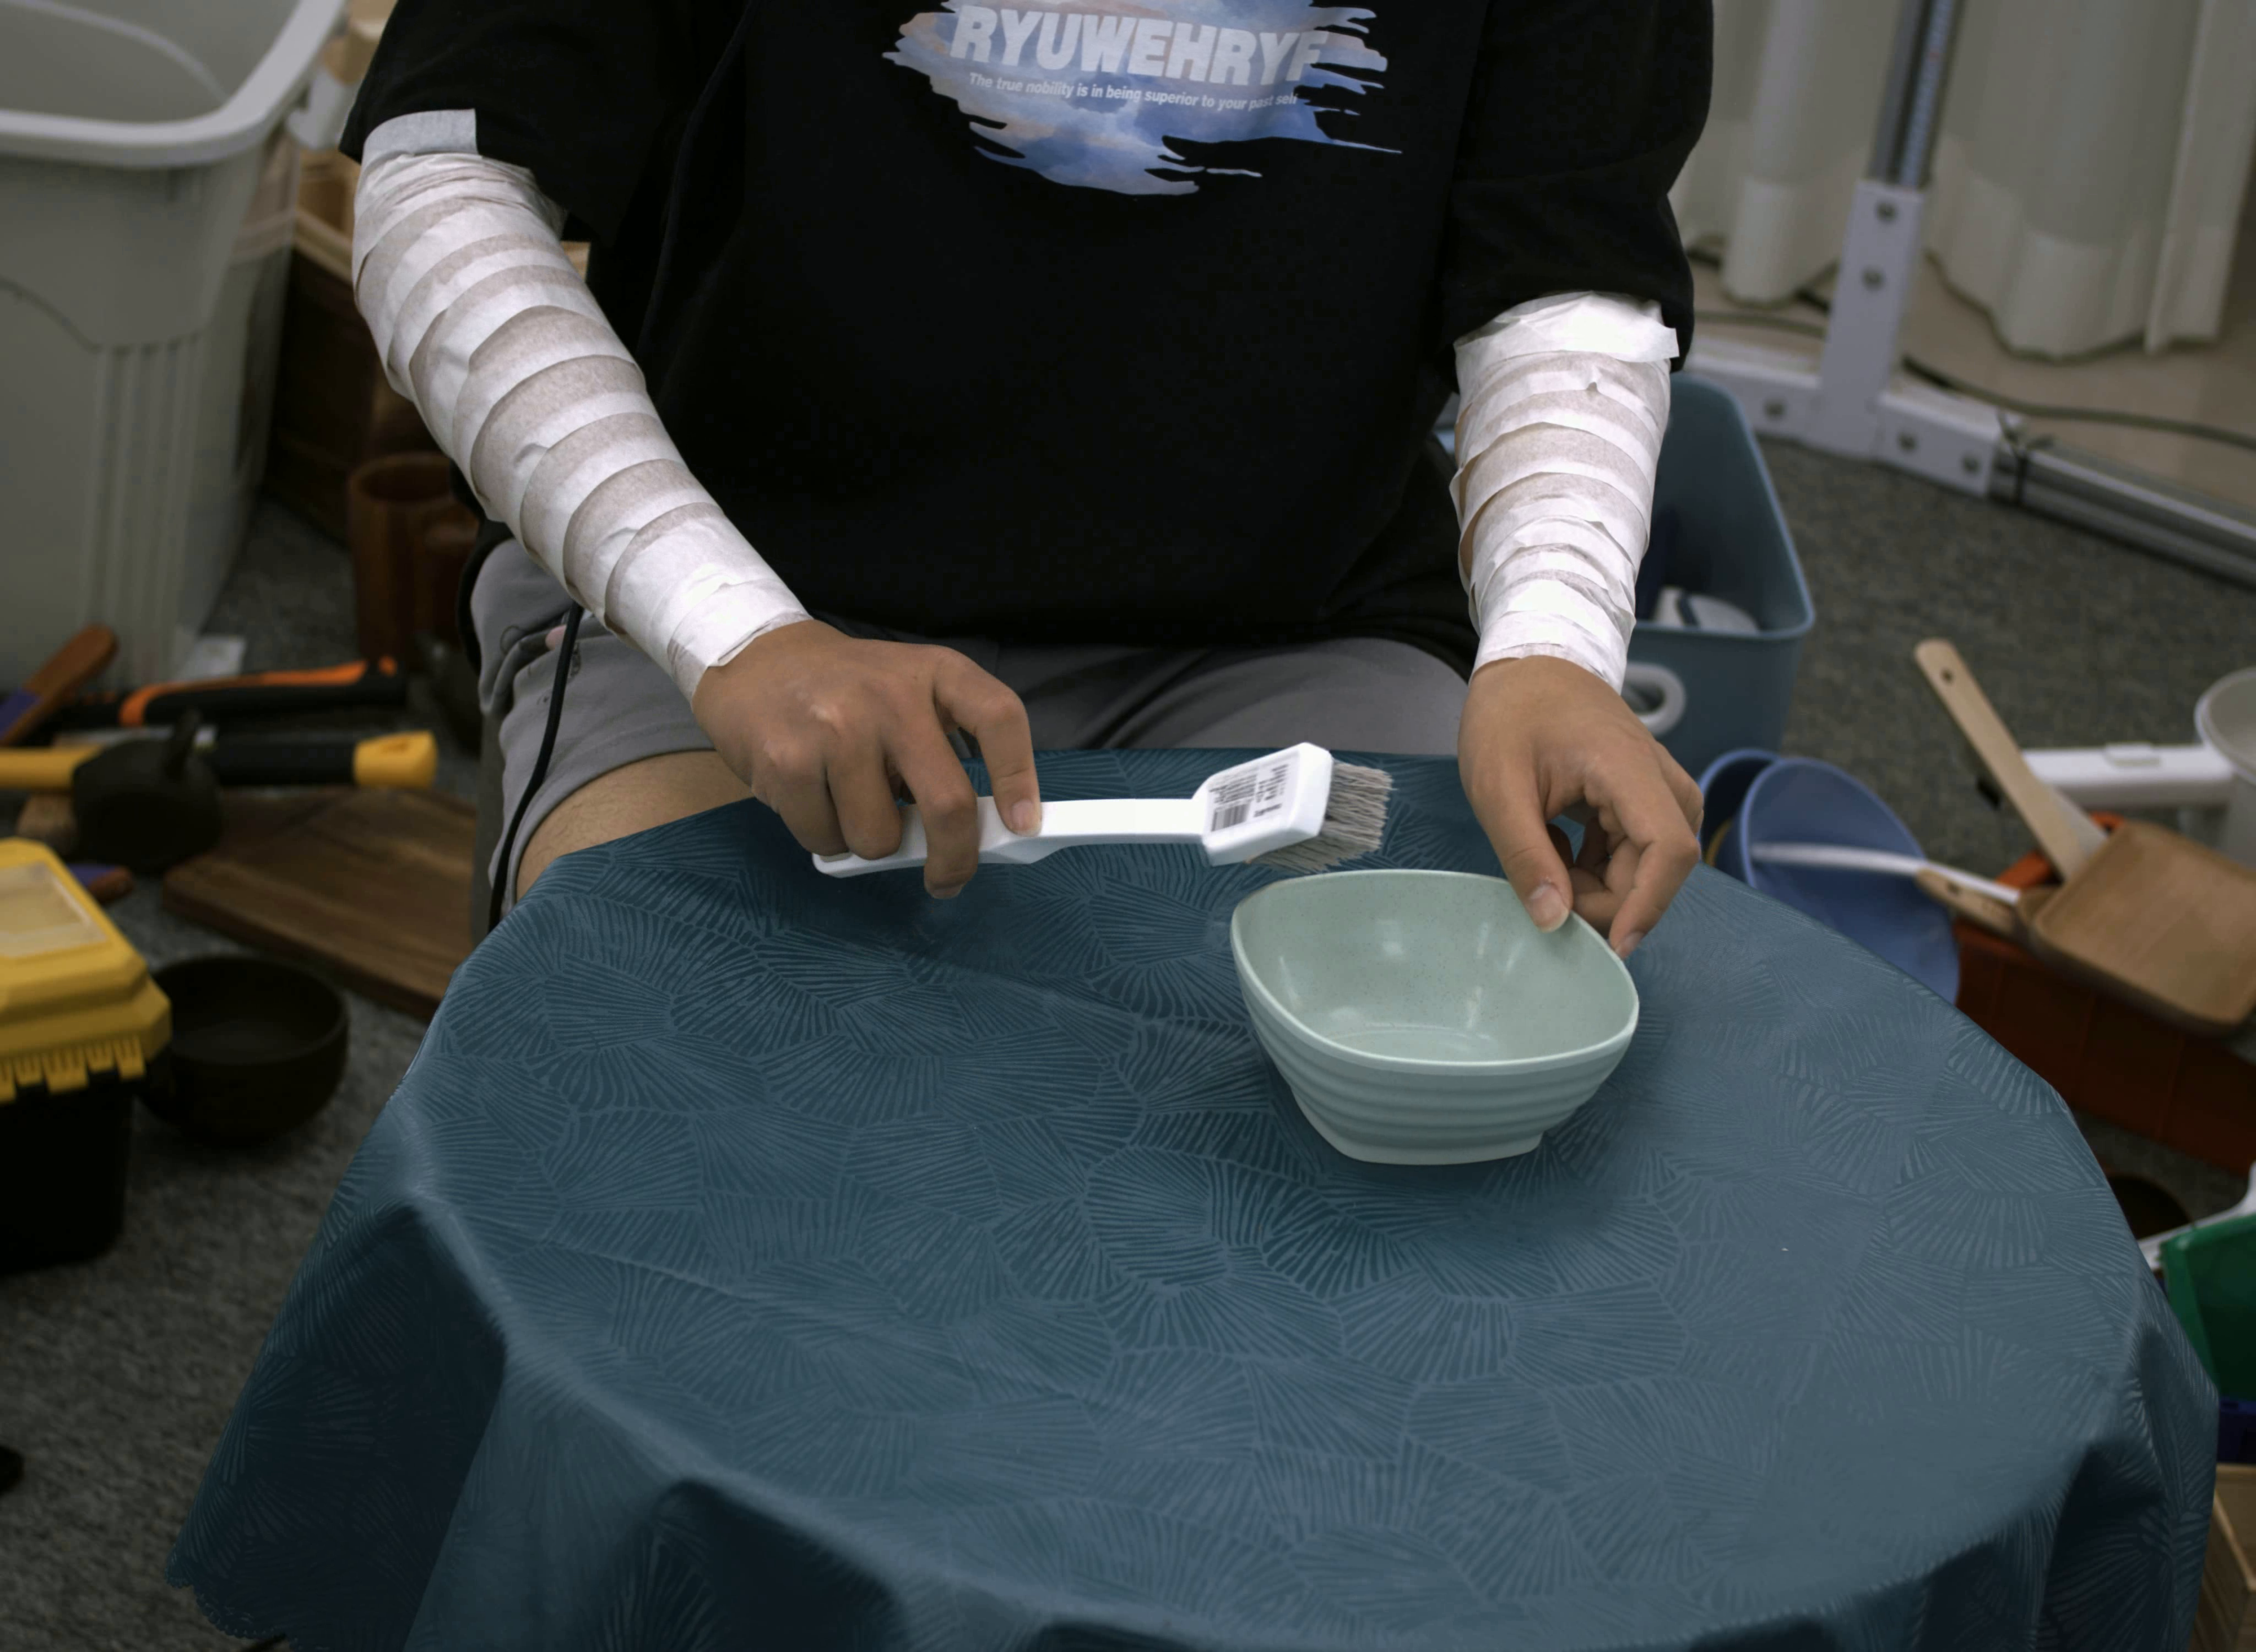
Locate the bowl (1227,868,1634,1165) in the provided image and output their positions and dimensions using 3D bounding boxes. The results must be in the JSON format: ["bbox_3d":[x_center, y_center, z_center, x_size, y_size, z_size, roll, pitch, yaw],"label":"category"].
[{"bbox_3d":[0.101,0.073,1.865,0.151,0.058,0.152,7,27,-4],"label":"bowl"}]

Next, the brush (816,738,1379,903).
[{"bbox_3d":[-0.011,0.006,1.912,0.244,0.034,0.050,-11,-25,39],"label":"brush"}]
